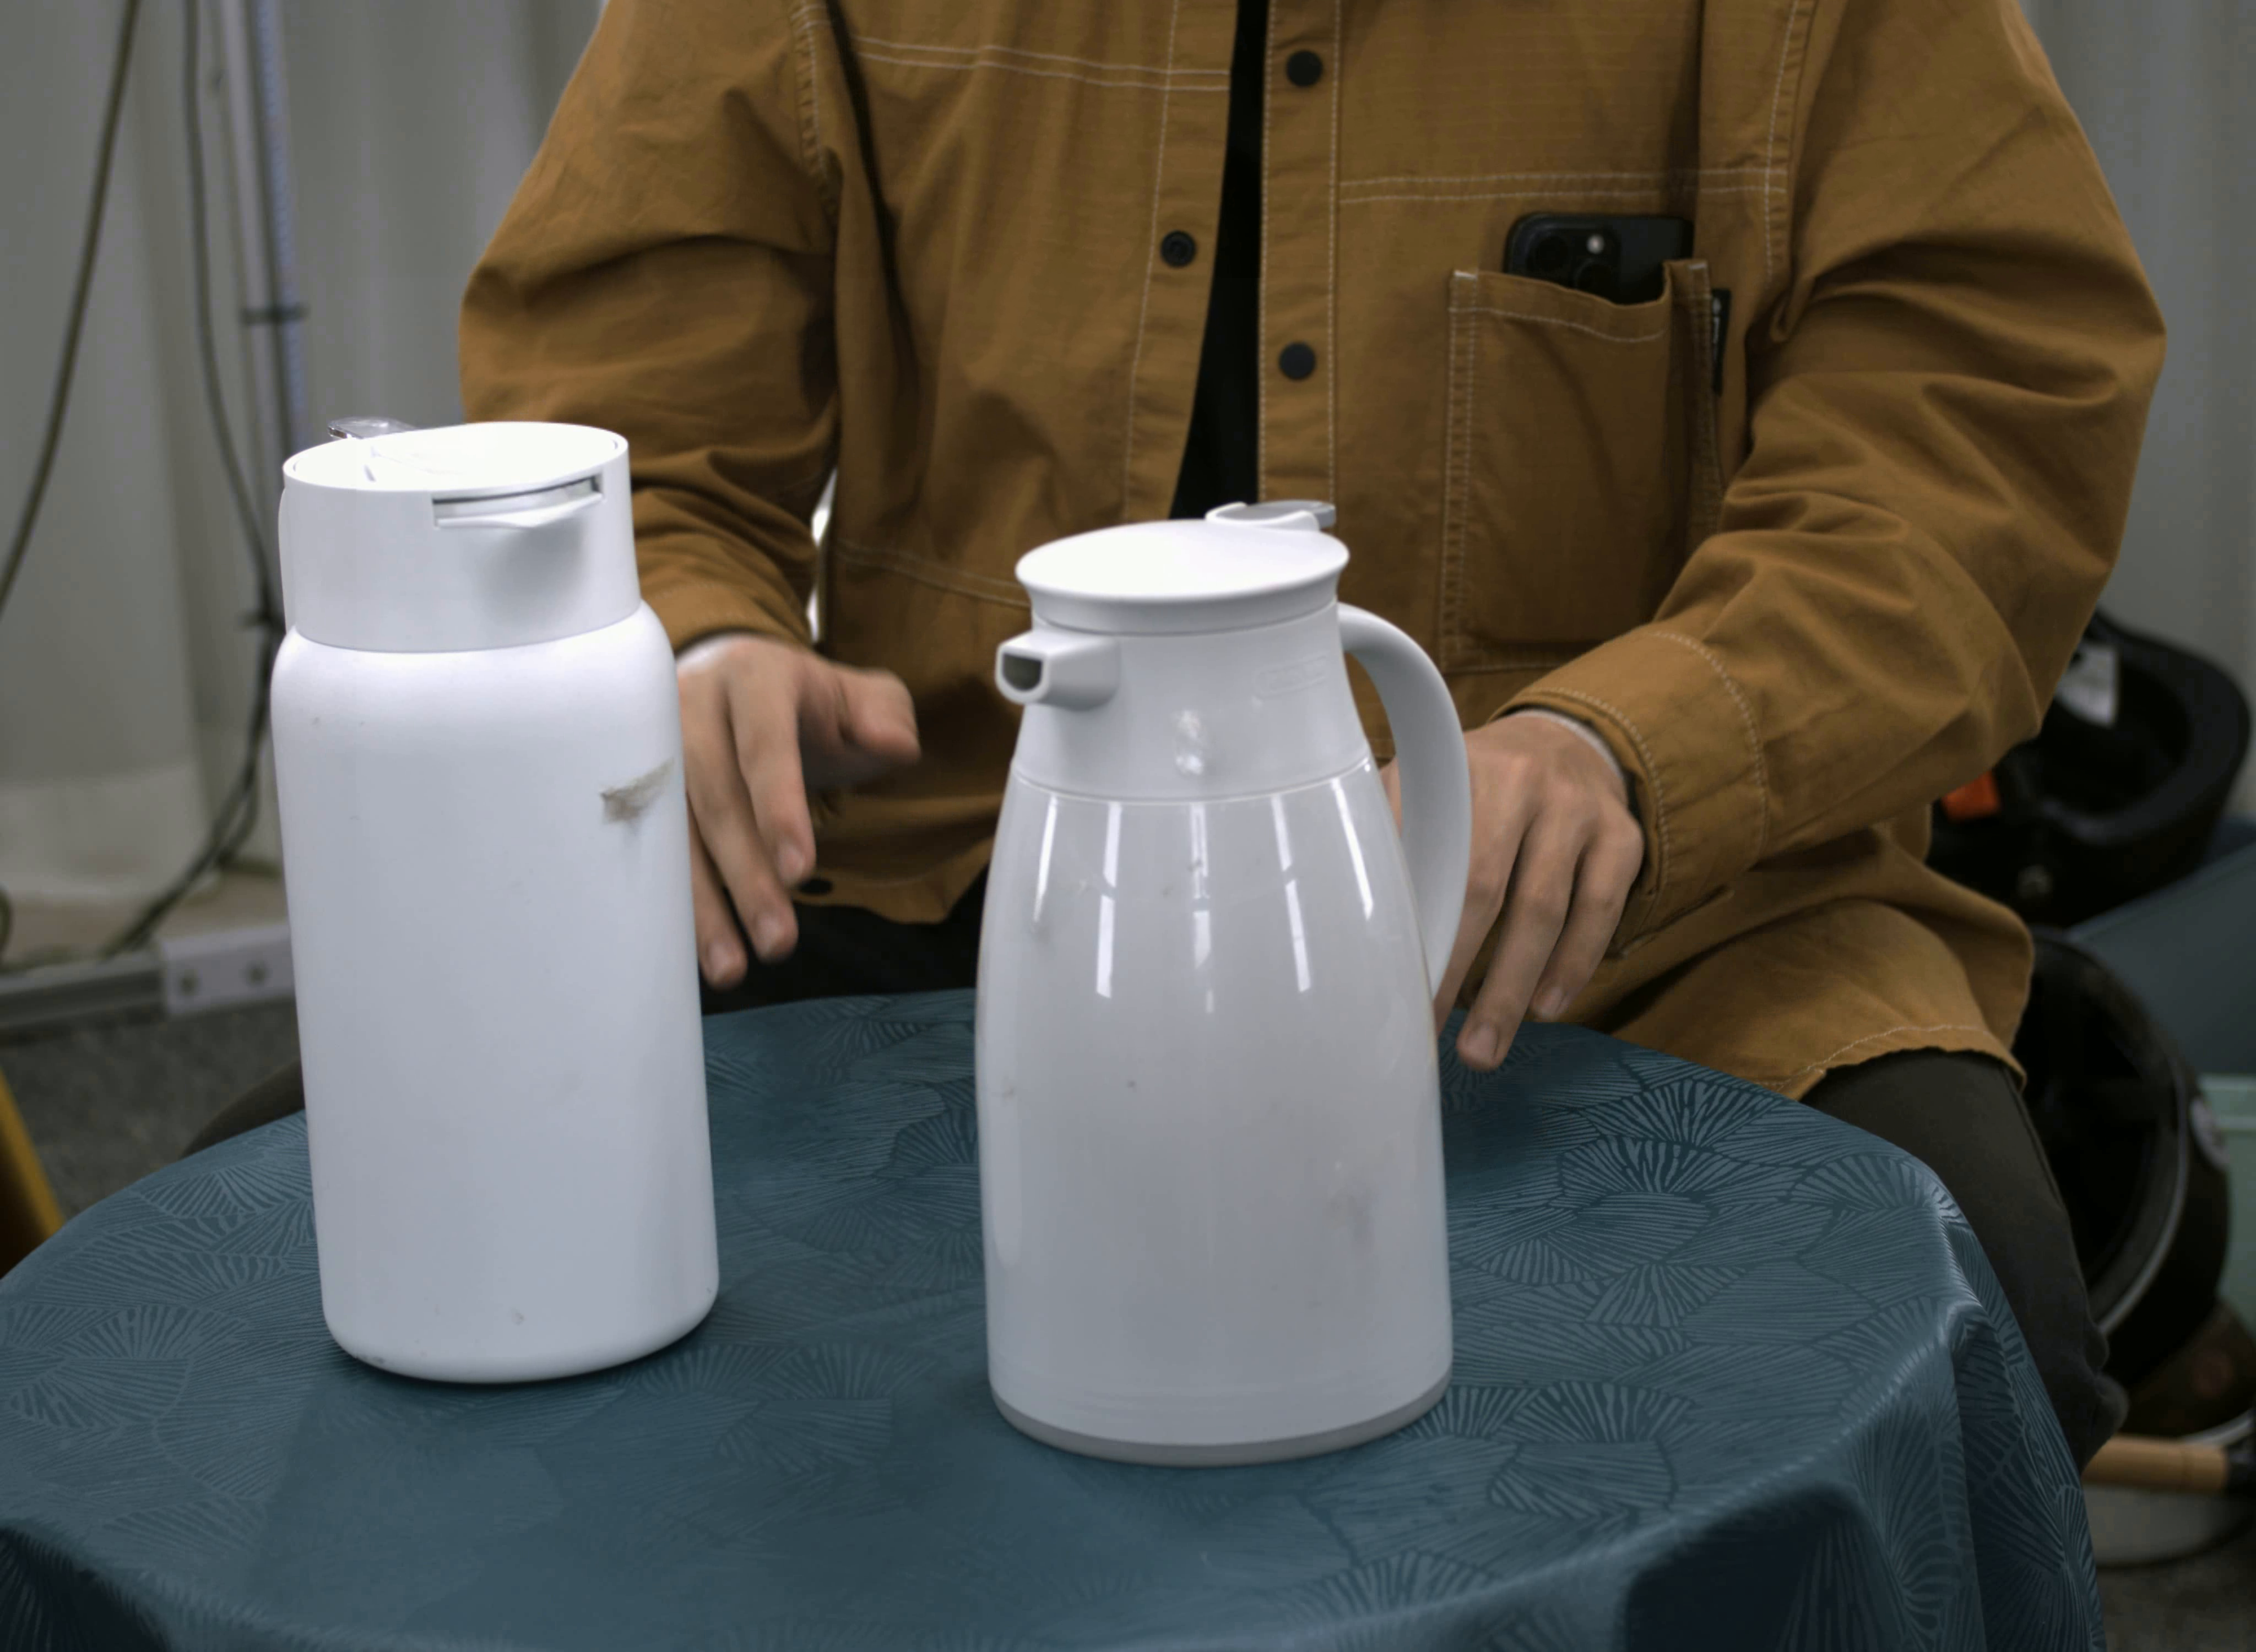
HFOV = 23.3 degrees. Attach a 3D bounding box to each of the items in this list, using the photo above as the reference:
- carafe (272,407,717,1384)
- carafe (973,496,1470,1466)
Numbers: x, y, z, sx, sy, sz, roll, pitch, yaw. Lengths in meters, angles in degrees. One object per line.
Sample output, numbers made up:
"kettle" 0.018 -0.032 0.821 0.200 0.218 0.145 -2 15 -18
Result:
"carafe" -0.195 0.017 1.604 0.123 0.268 0.174 -13 17 -30
"carafe" 0.033 0.034 1.532 0.133 0.248 0.167 11 18 43
